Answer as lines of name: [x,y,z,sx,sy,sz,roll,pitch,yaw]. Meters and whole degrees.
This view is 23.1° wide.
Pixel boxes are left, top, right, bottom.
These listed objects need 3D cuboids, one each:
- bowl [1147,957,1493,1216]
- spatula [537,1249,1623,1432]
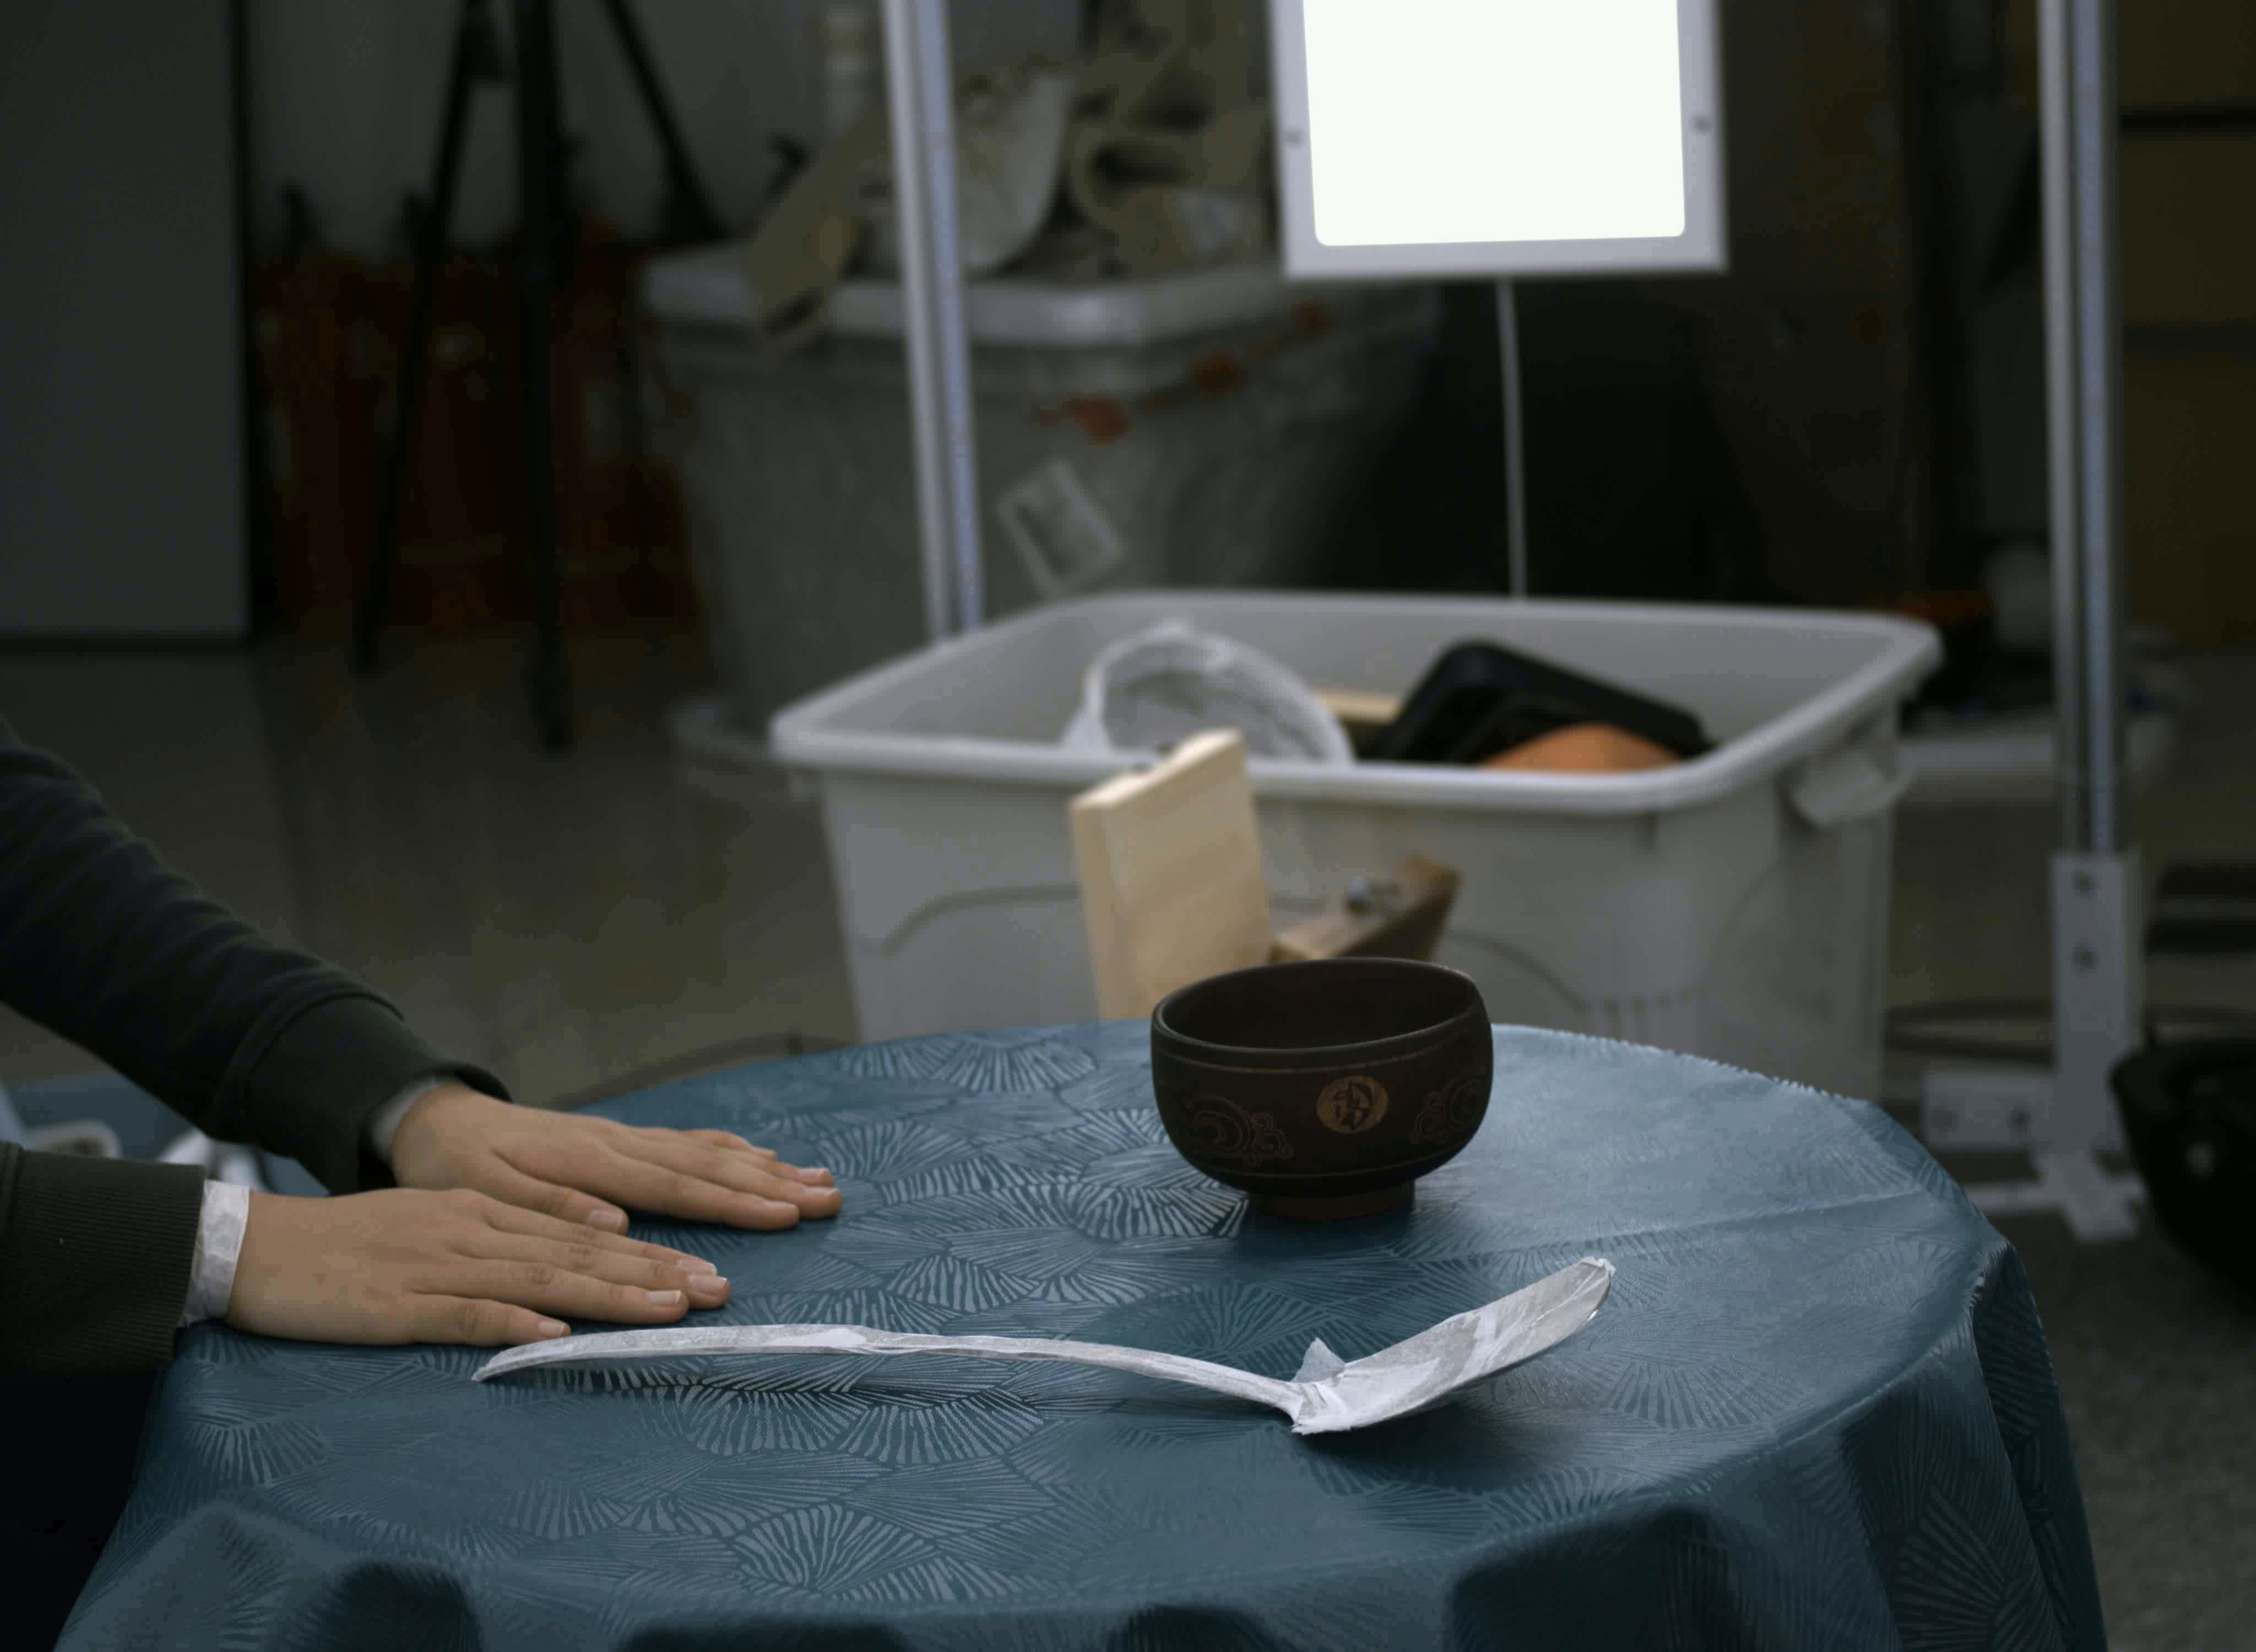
bowl: [0.067,0.091,1.866,0.118,0.070,0.118,-5,12,0]
spatula: [-0.026,0.157,1.701,0.370,0.045,0.097,1,17,22]
